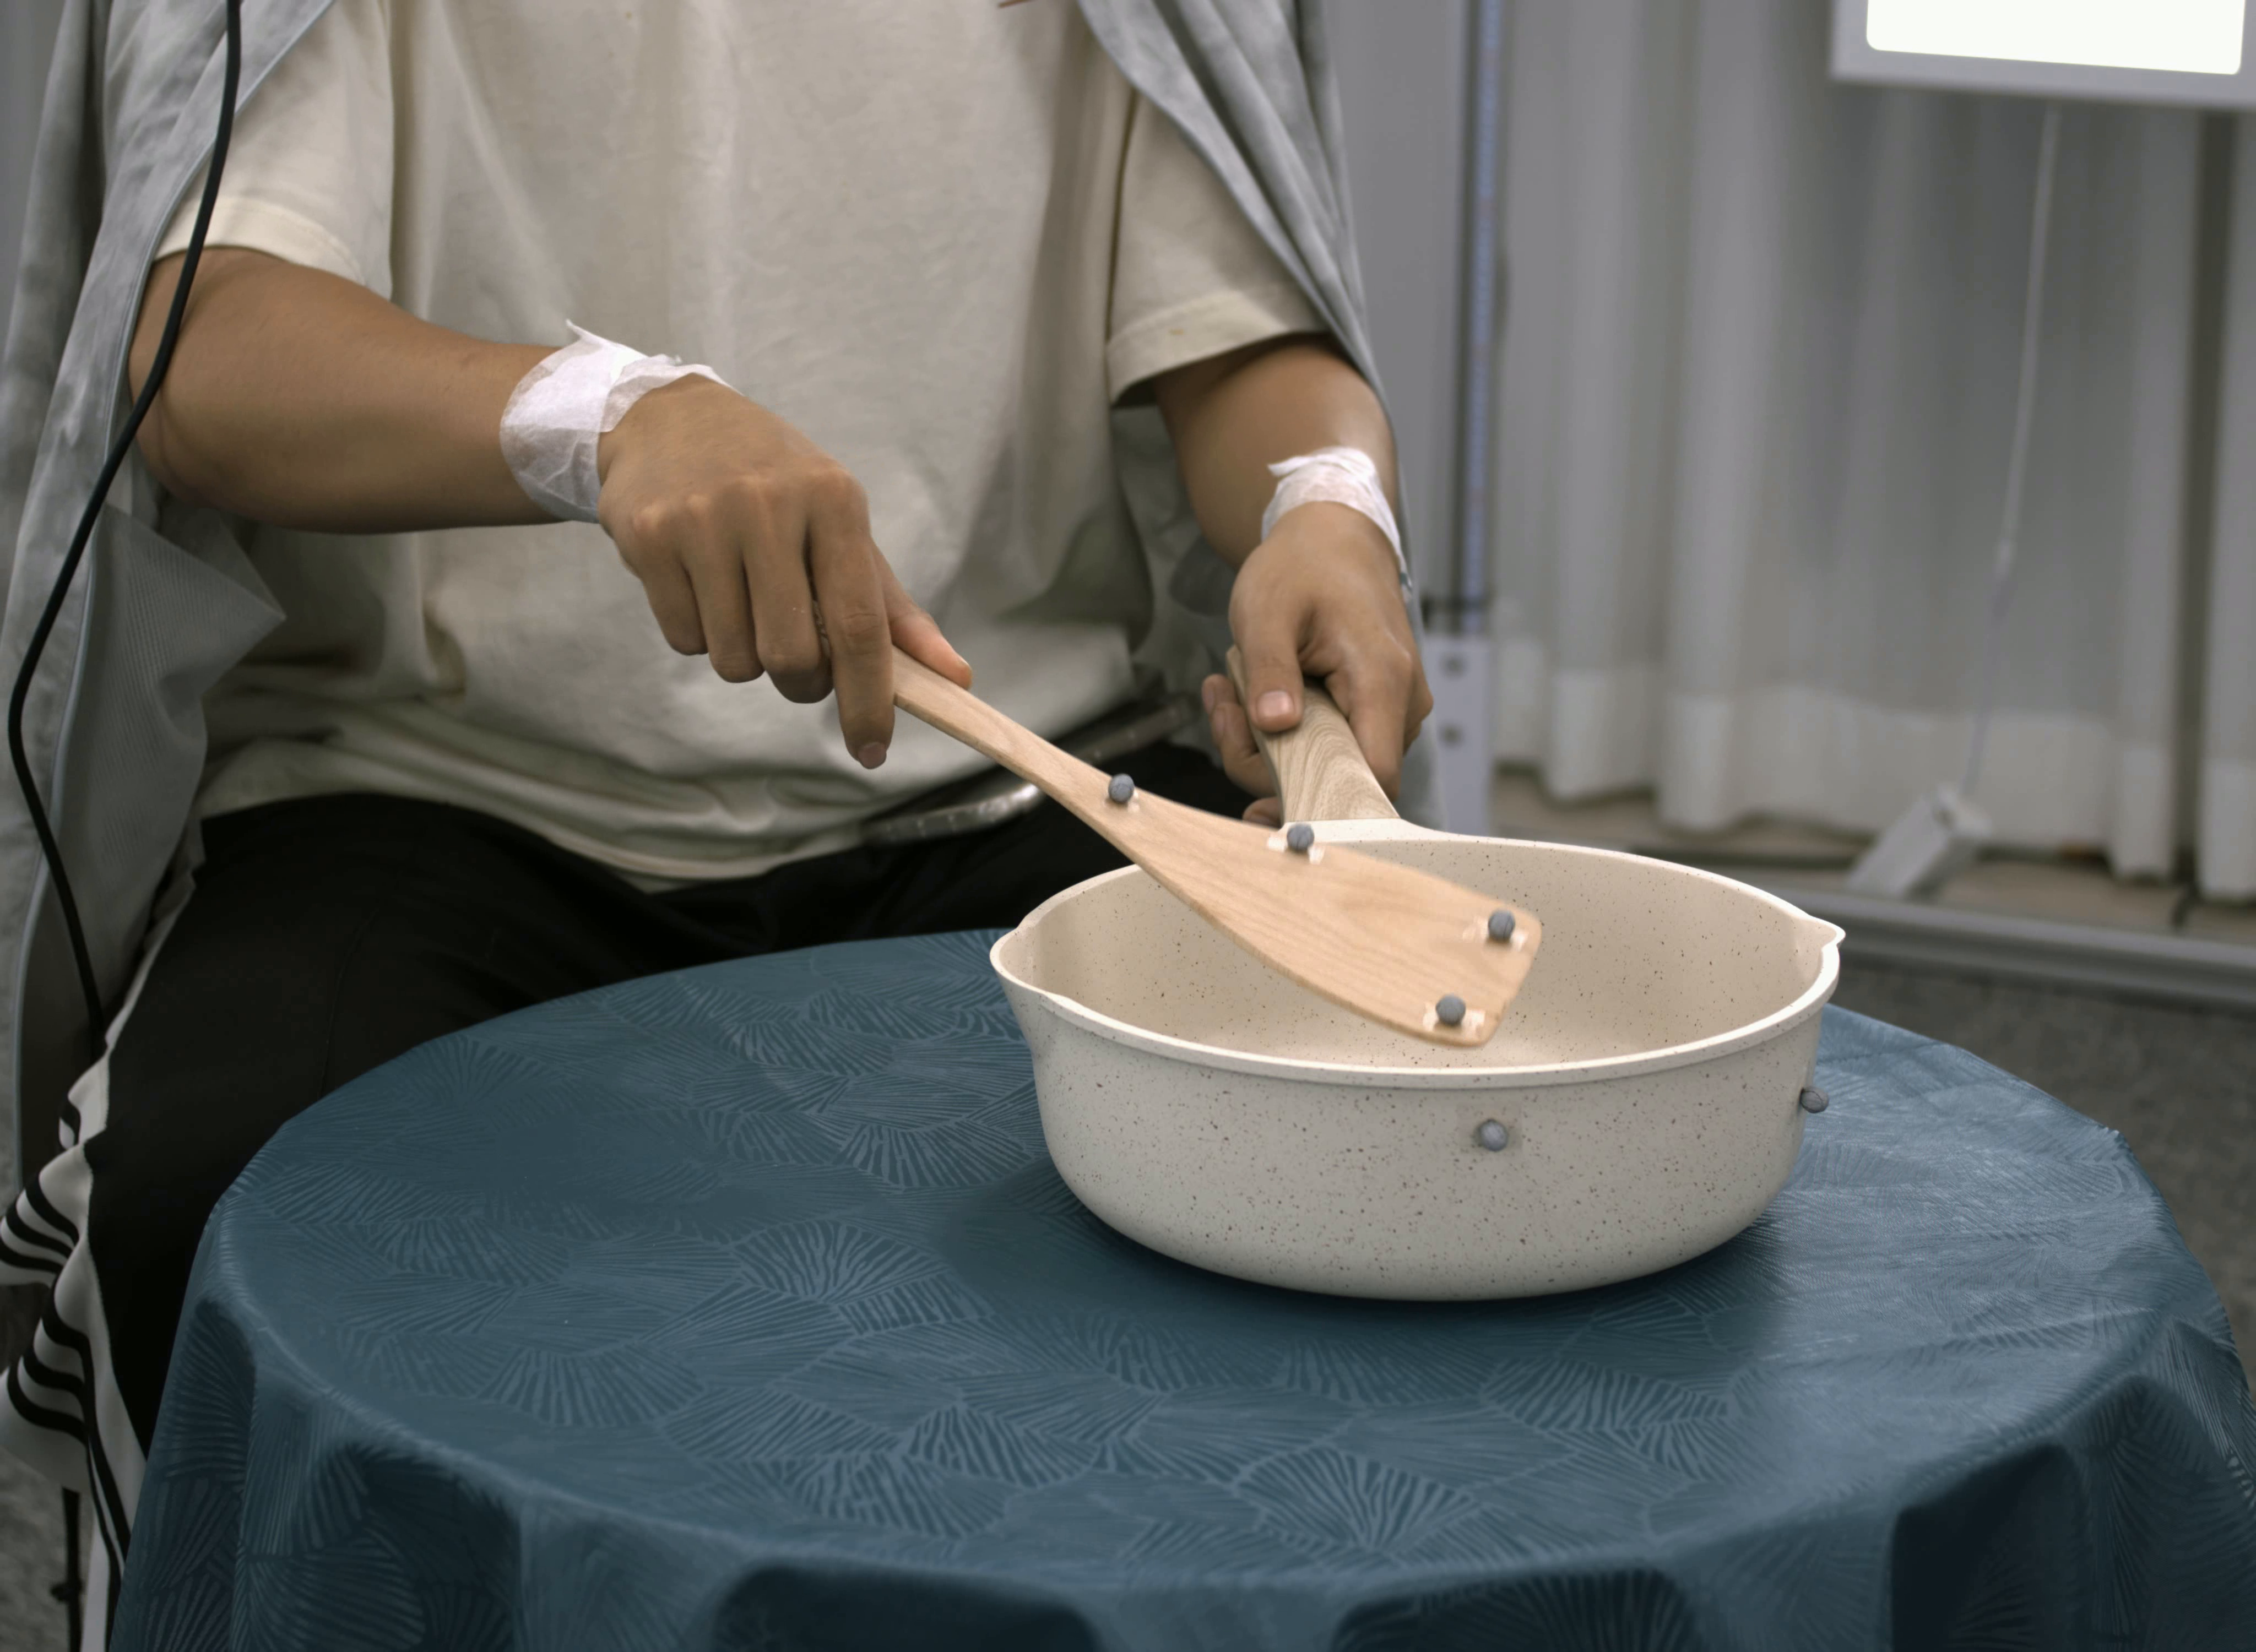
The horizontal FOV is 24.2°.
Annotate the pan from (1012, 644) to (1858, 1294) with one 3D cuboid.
[{"bbox_3d":[0.082,0.041,1.696,0.263,0.103,0.431,-3,16,-8],"label":"pan"}]

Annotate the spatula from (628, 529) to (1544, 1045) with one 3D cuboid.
[{"bbox_3d":[-0.017,-0.017,1.617,0.325,0.016,0.080,29,36,15],"label":"spatula"}]
